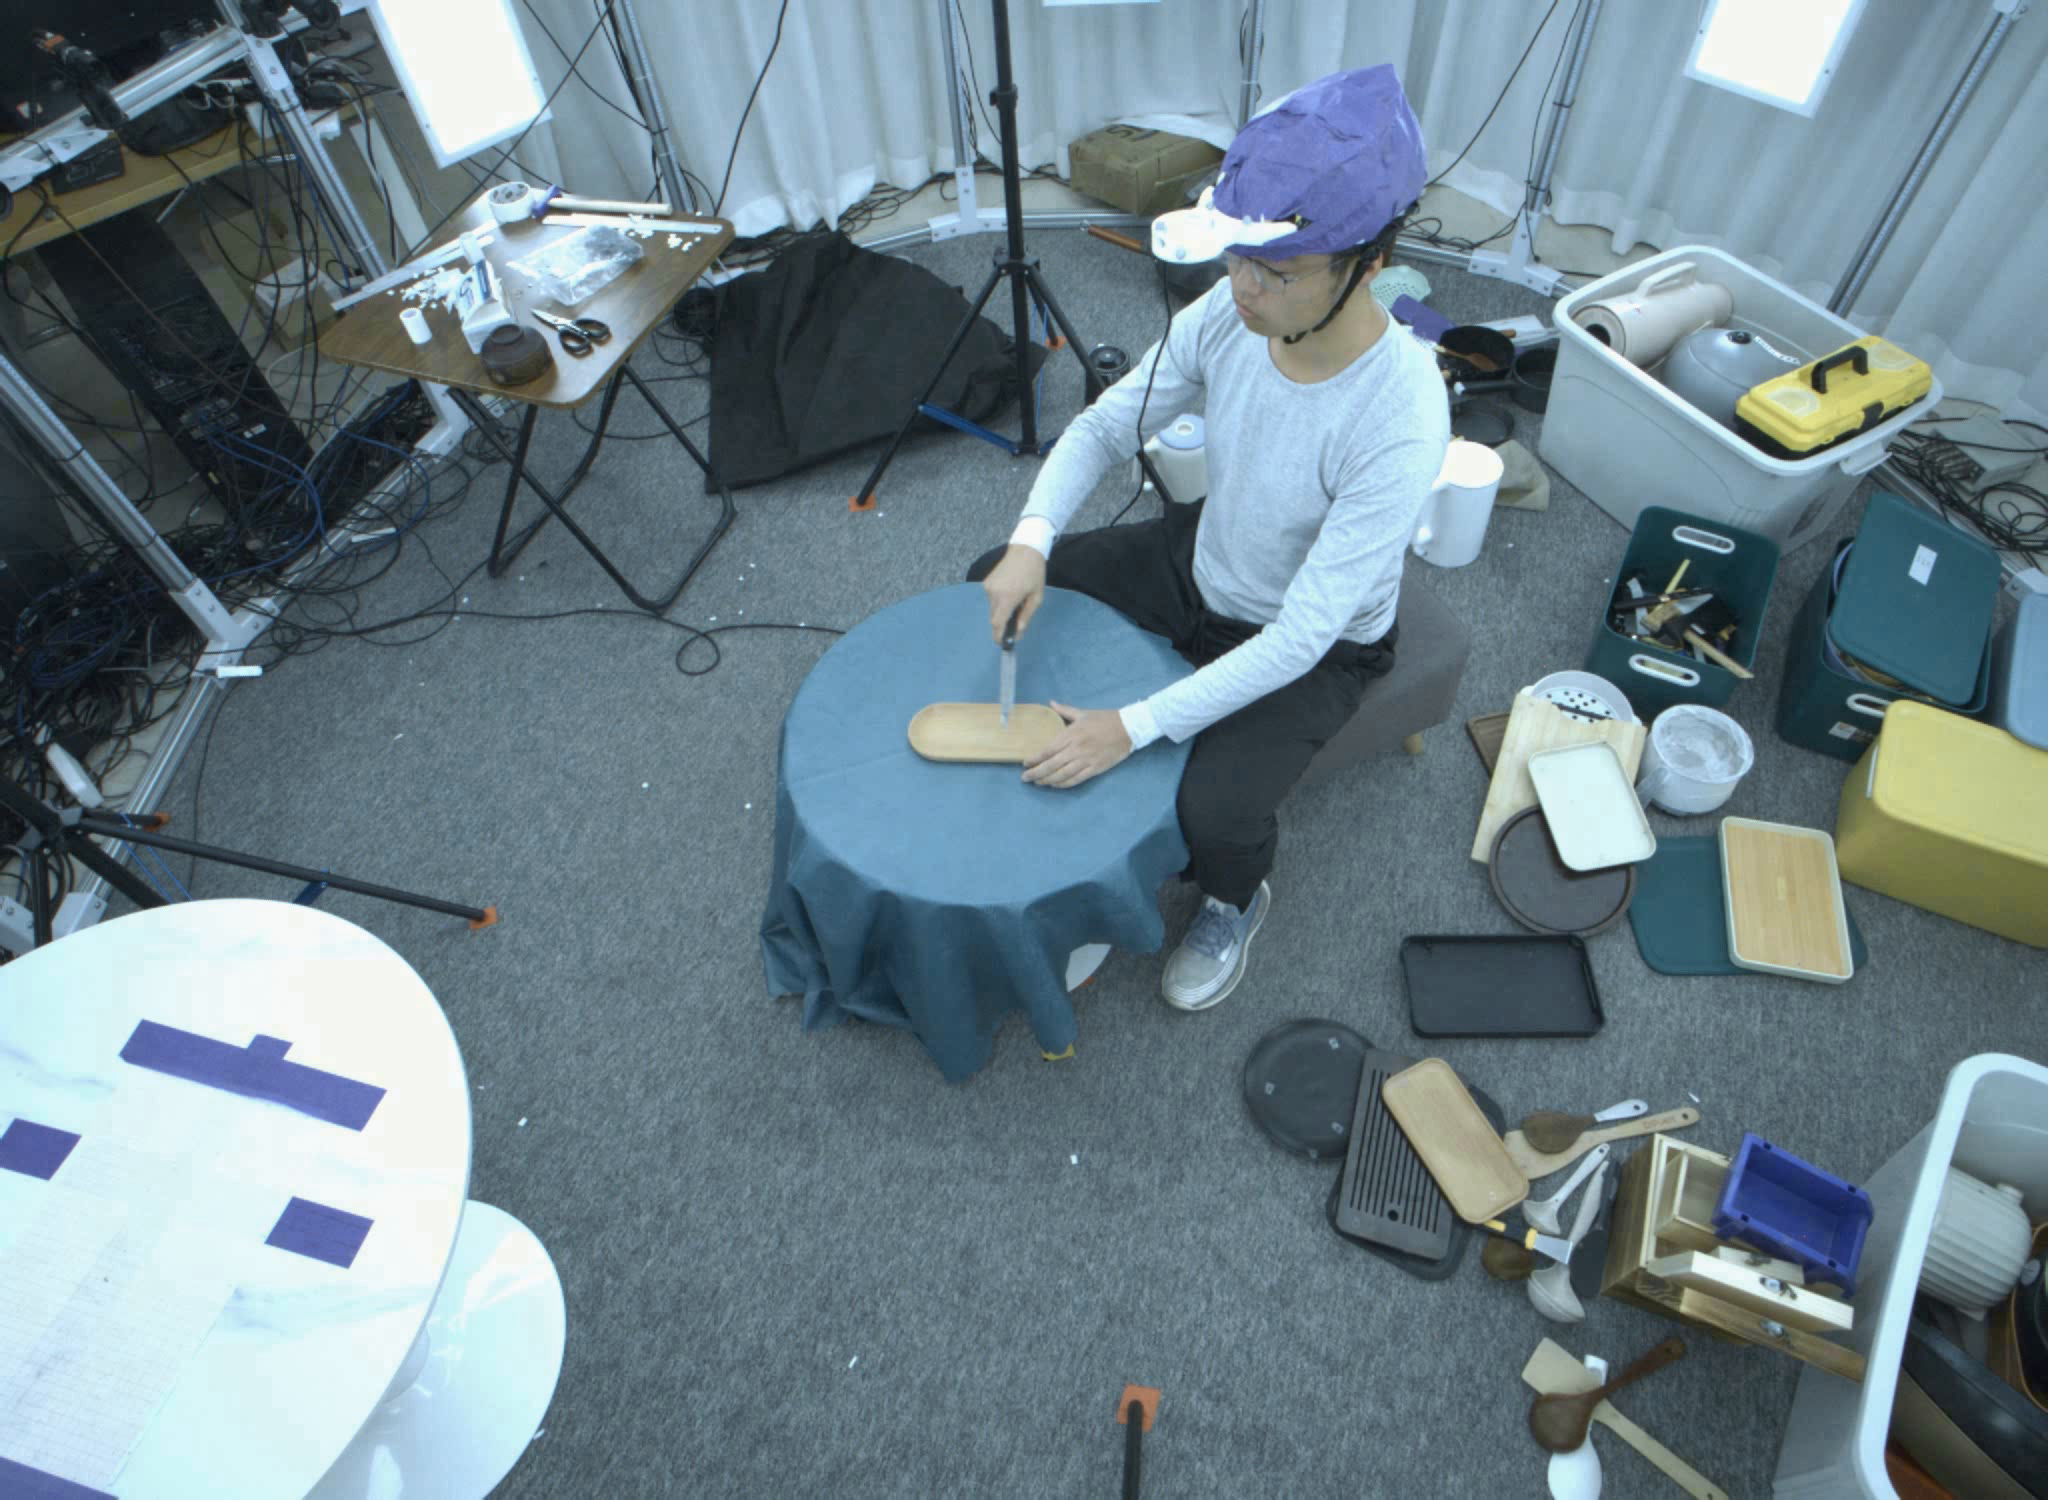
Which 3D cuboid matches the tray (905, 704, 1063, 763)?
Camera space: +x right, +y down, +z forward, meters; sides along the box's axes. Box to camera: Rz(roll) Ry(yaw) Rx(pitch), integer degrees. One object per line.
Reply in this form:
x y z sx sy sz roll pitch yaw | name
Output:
-0.059 -0.023 1.804 0.231 0.020 0.100 -1 52 2 | tray

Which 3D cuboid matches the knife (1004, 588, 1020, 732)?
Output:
-0.017 -0.132 1.753 0.025 0.016 0.236 12 62 -23 | knife
